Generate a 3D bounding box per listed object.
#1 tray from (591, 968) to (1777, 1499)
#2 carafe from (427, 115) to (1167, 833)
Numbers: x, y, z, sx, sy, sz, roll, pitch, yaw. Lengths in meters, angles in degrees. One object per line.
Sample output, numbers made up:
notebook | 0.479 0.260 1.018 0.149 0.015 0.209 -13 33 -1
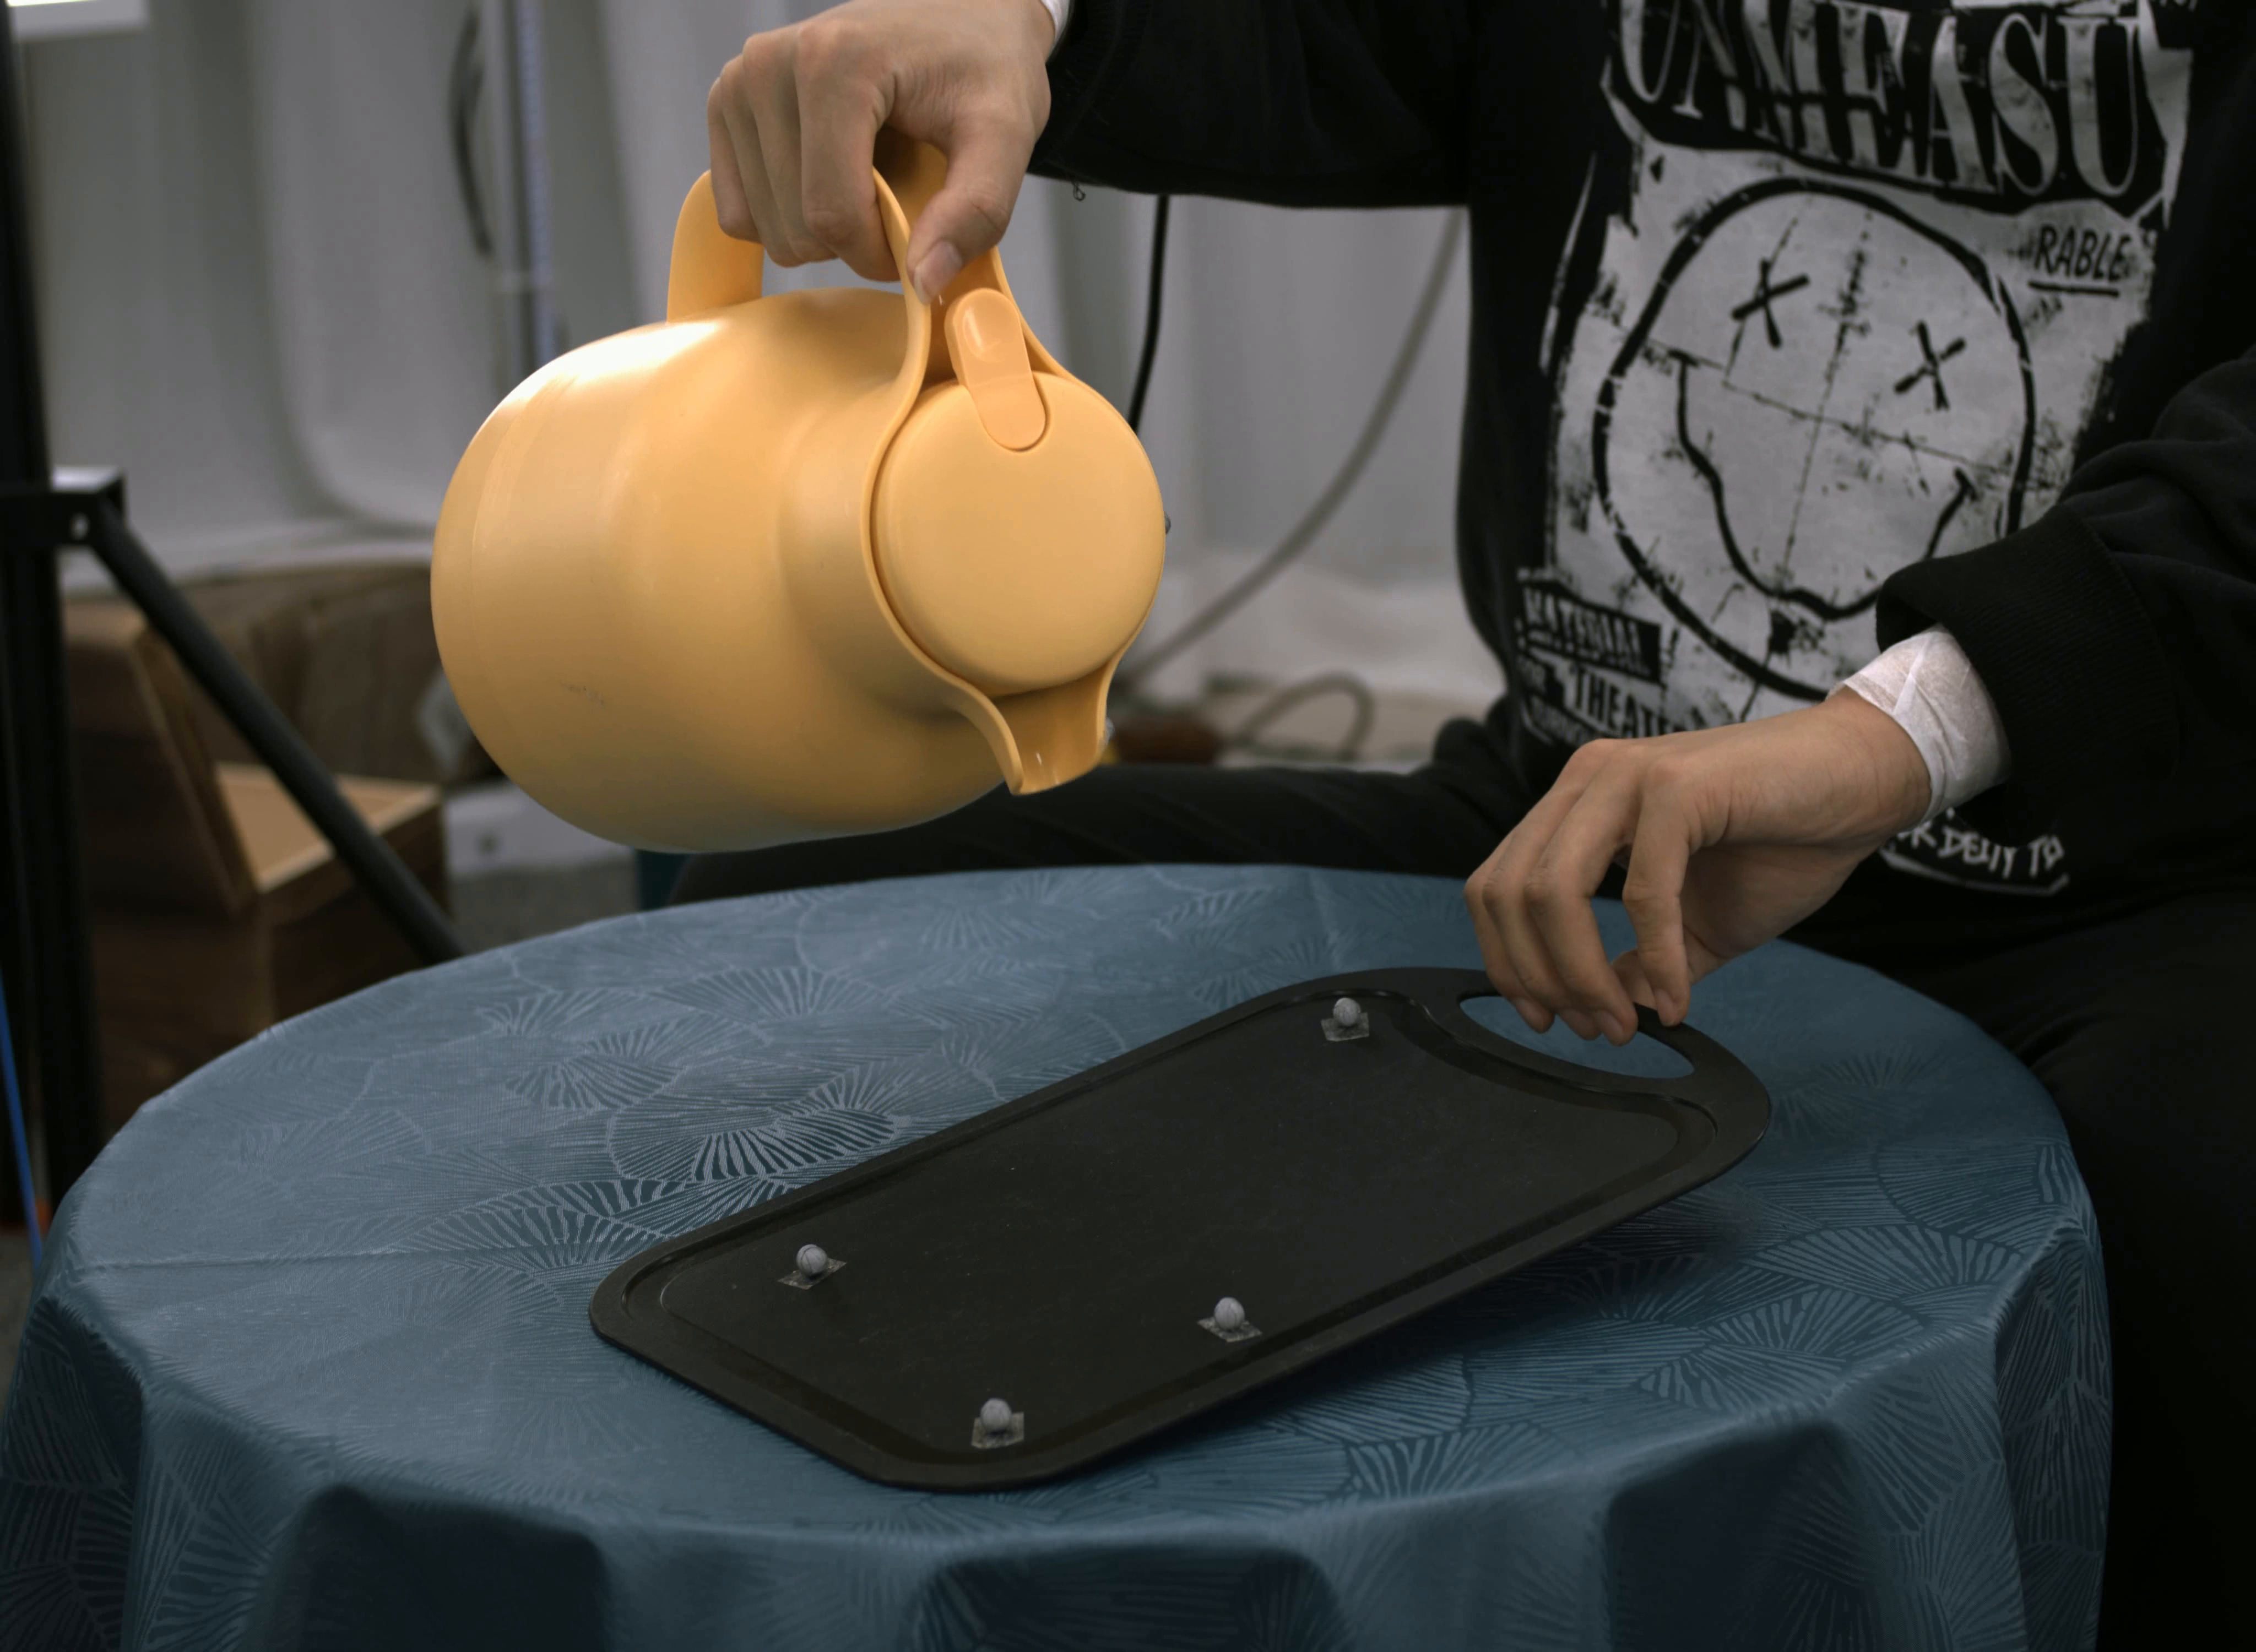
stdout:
tray | 0.022 0.103 1.486 0.319 0.010 0.216 -21 24 -29
carafe | -0.091 -0.100 1.563 0.159 0.203 0.265 -9 4 -31
